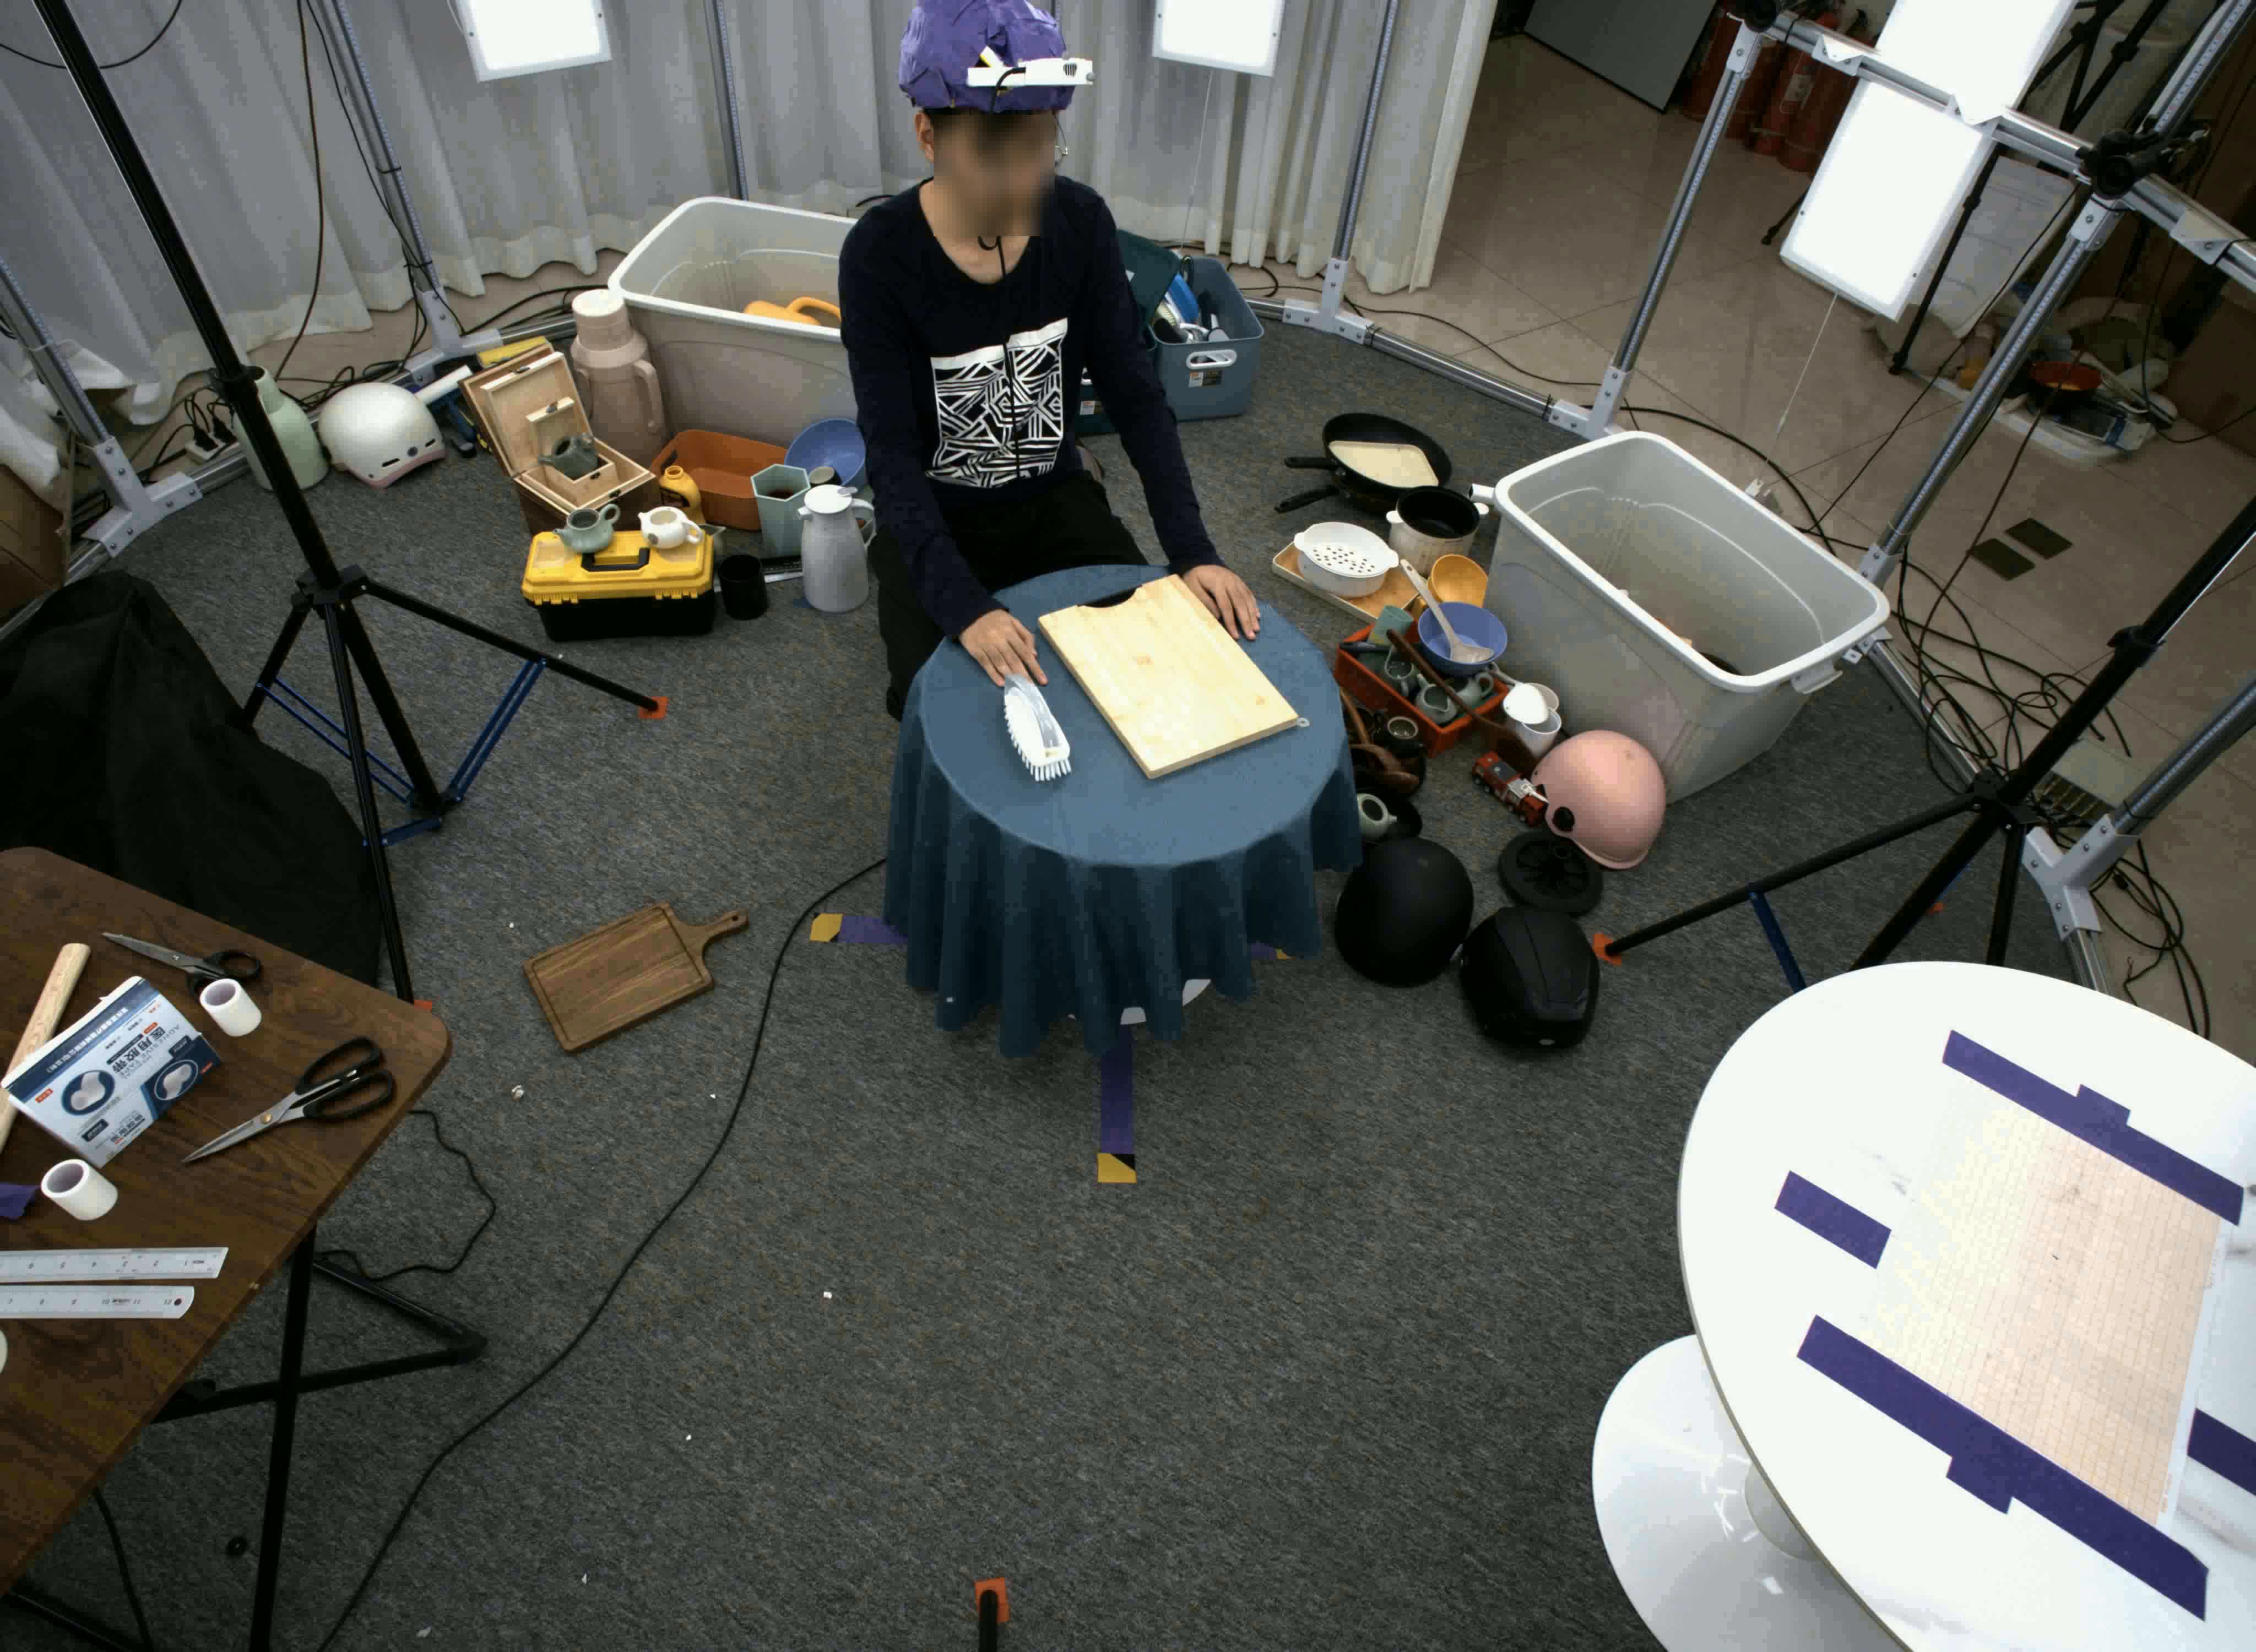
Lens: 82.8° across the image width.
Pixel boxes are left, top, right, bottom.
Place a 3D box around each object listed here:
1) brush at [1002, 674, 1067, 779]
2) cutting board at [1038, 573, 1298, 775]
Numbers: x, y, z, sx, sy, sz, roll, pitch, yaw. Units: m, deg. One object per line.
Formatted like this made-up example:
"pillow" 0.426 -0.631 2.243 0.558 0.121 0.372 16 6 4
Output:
"brush" -0.135 -0.152 1.731 0.061 0.092 0.179 -15 49 -18
"cutting board" 0.051 -0.228 1.860 0.251 0.023 0.356 -21 53 -21
